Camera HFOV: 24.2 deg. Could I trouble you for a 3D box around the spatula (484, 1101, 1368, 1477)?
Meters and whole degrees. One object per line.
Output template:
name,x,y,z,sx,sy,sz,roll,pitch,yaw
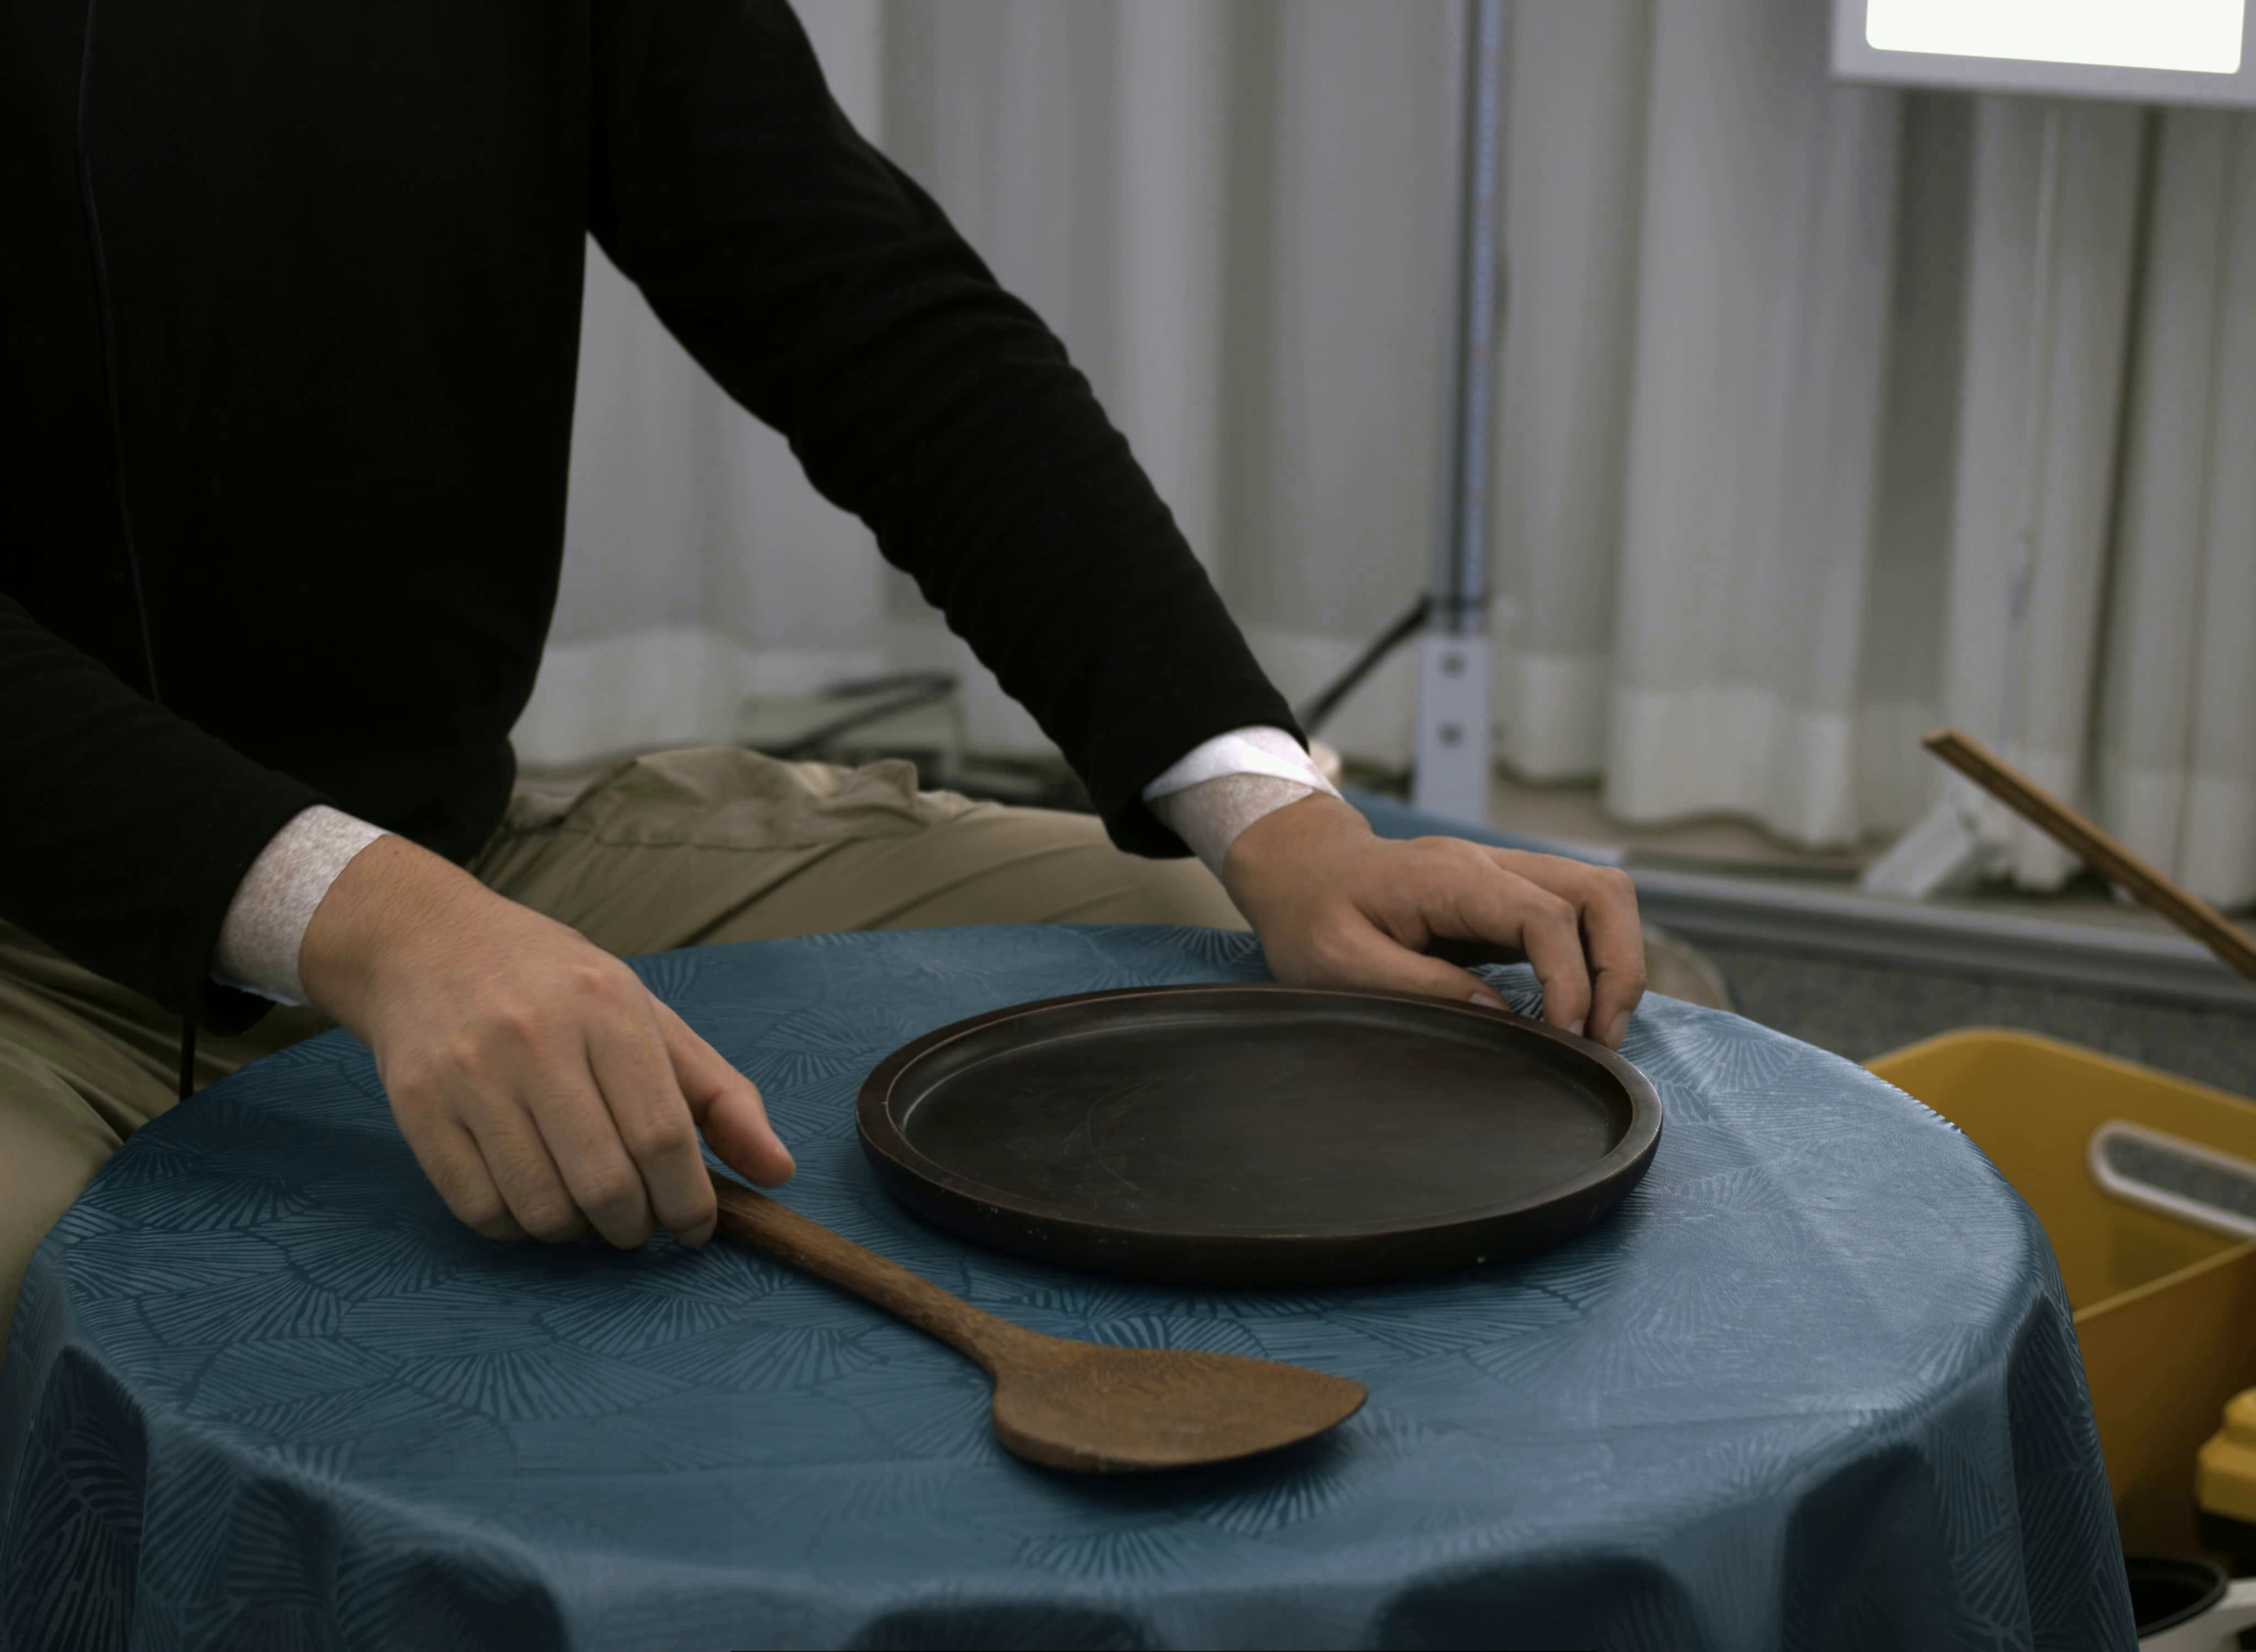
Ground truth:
spatula,-0.081,0.128,1.532,0.096,0.016,0.381,-11,19,-37

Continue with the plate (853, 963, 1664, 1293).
plate,0.040,0.094,1.641,0.254,0.029,0.253,-1,16,1
